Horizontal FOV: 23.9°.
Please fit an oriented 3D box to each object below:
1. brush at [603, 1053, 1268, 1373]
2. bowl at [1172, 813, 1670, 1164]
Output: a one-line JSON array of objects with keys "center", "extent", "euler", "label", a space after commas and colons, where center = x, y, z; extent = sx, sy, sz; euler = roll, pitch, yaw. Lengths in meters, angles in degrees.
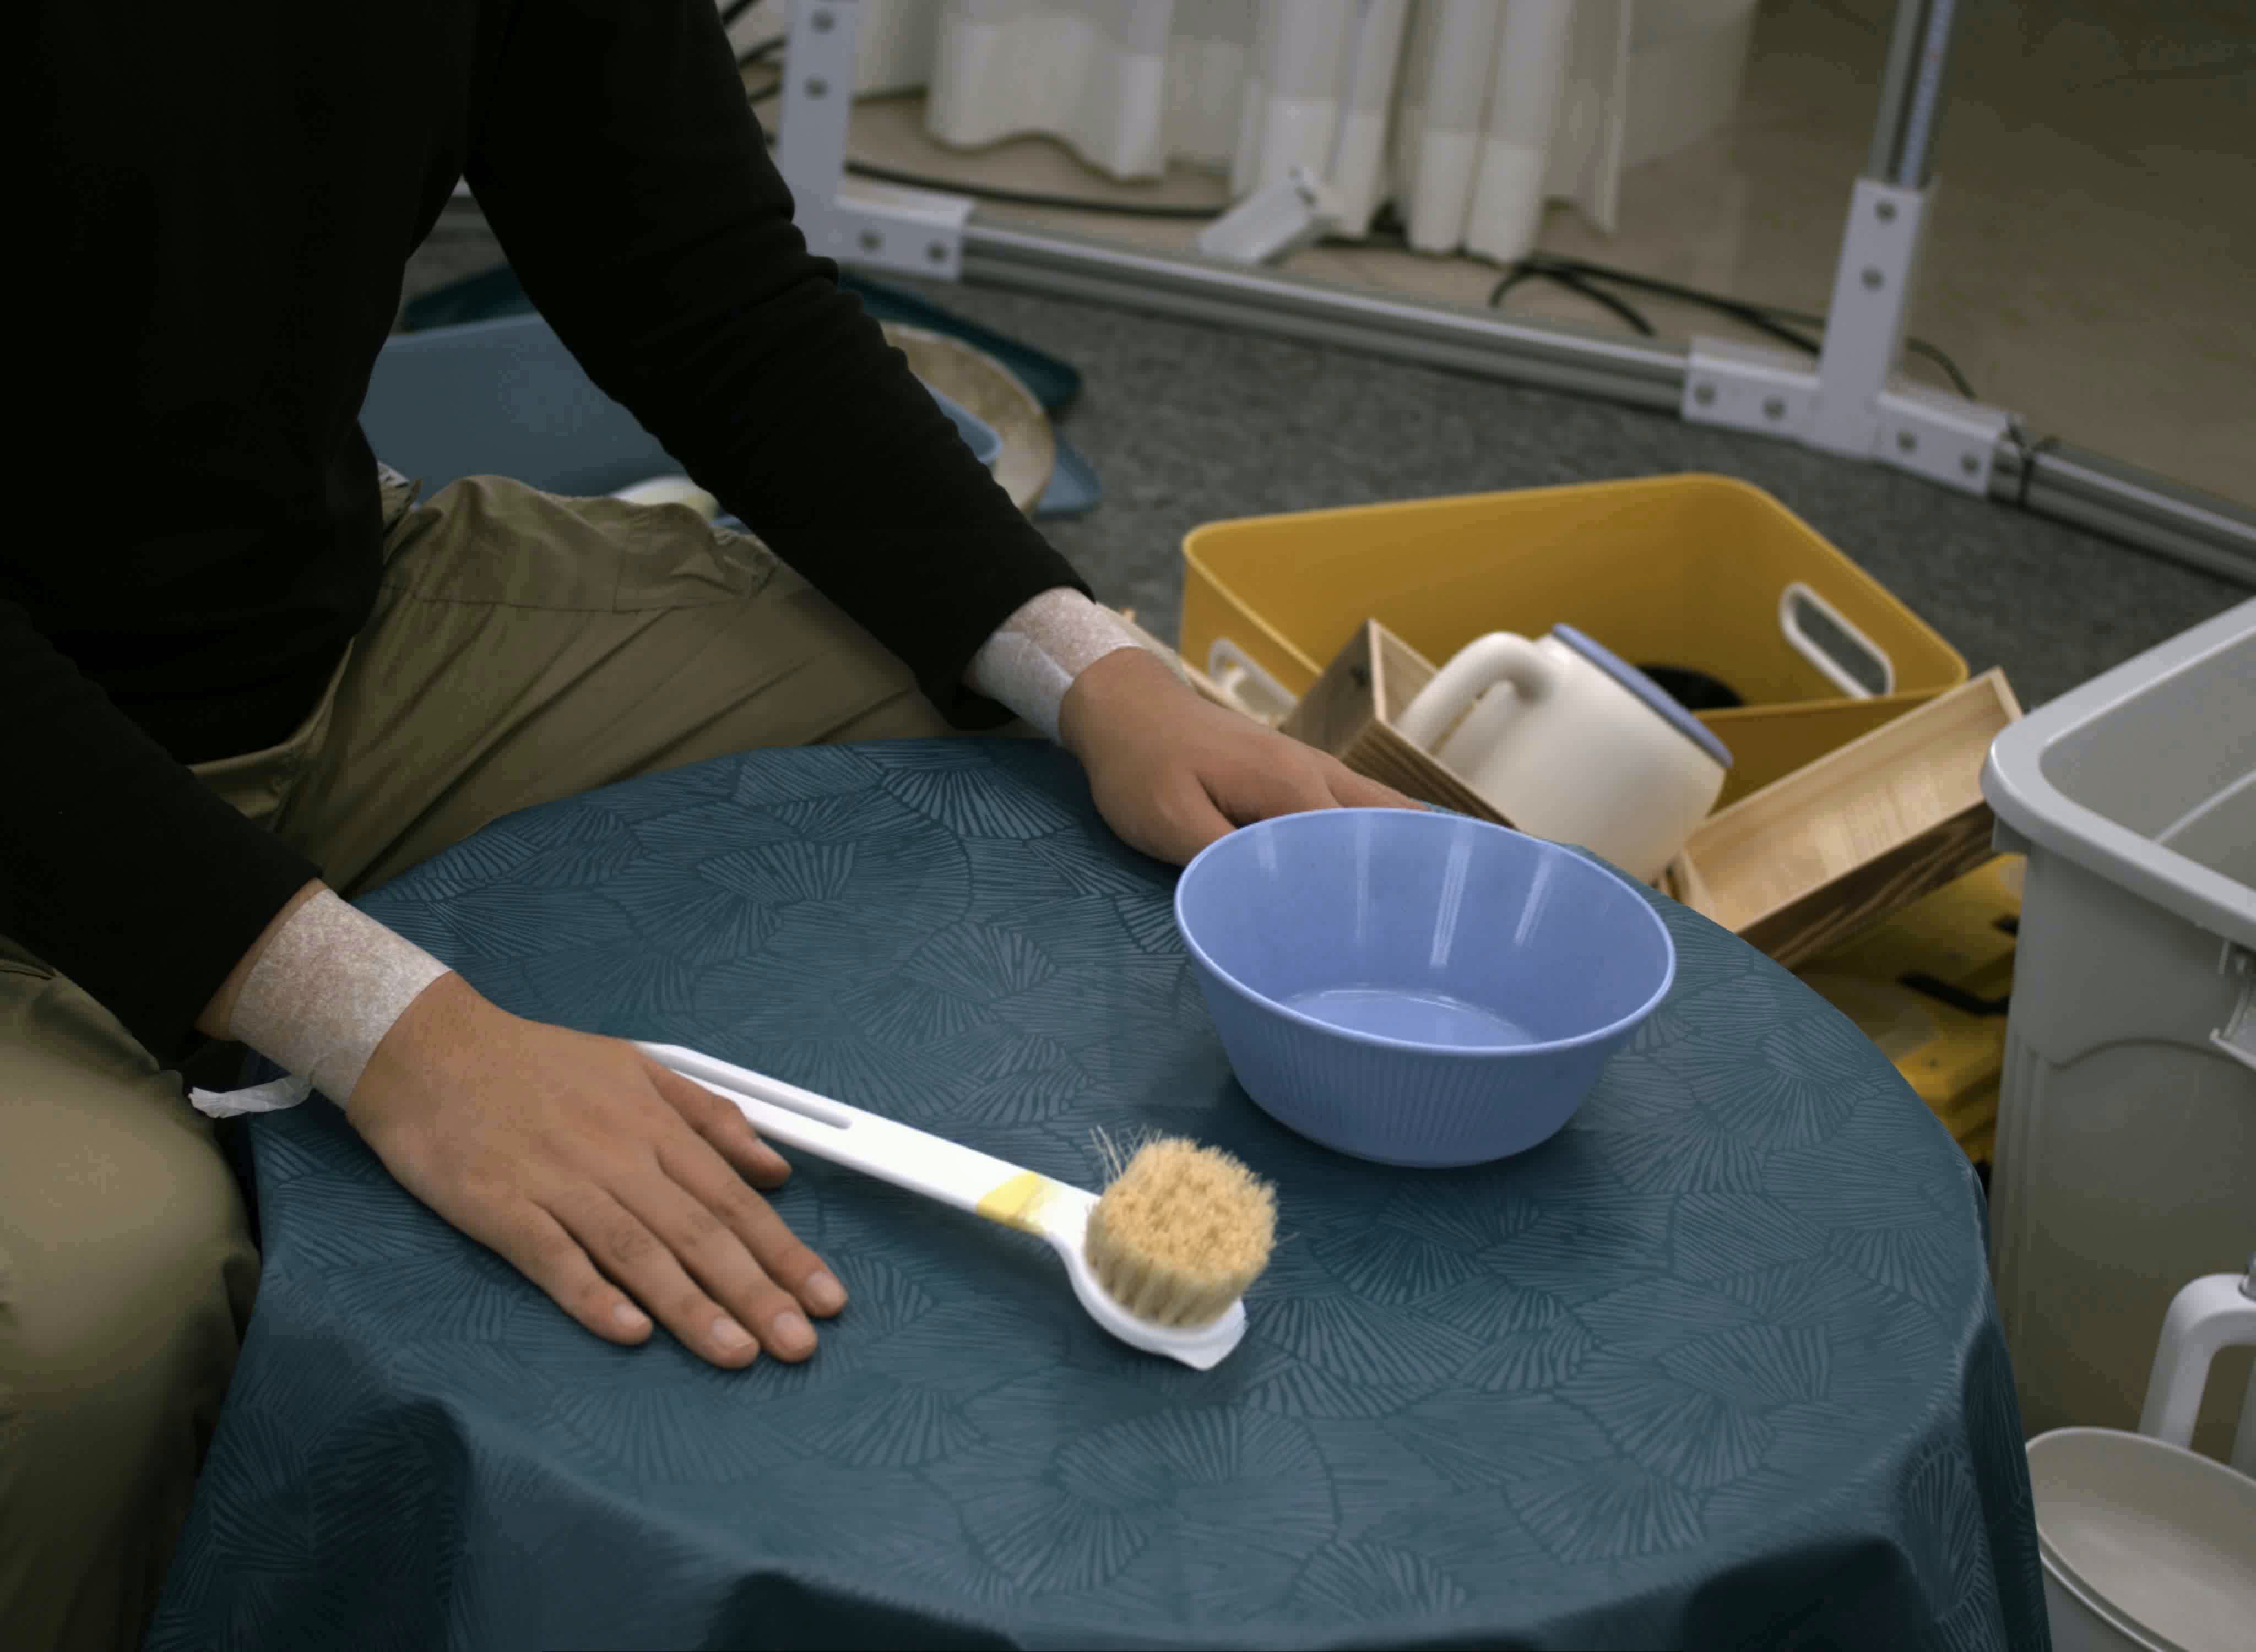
[{"center": [-0.070, 0.106, 1.763], "extent": [0.268, 0.056, 0.068], "euler": [23, 26, 31], "label": "brush"}, {"center": [0.099, 0.063, 1.865], "extent": [0.175, 0.070, 0.177], "euler": [5, 26, -3], "label": "bowl"}]
